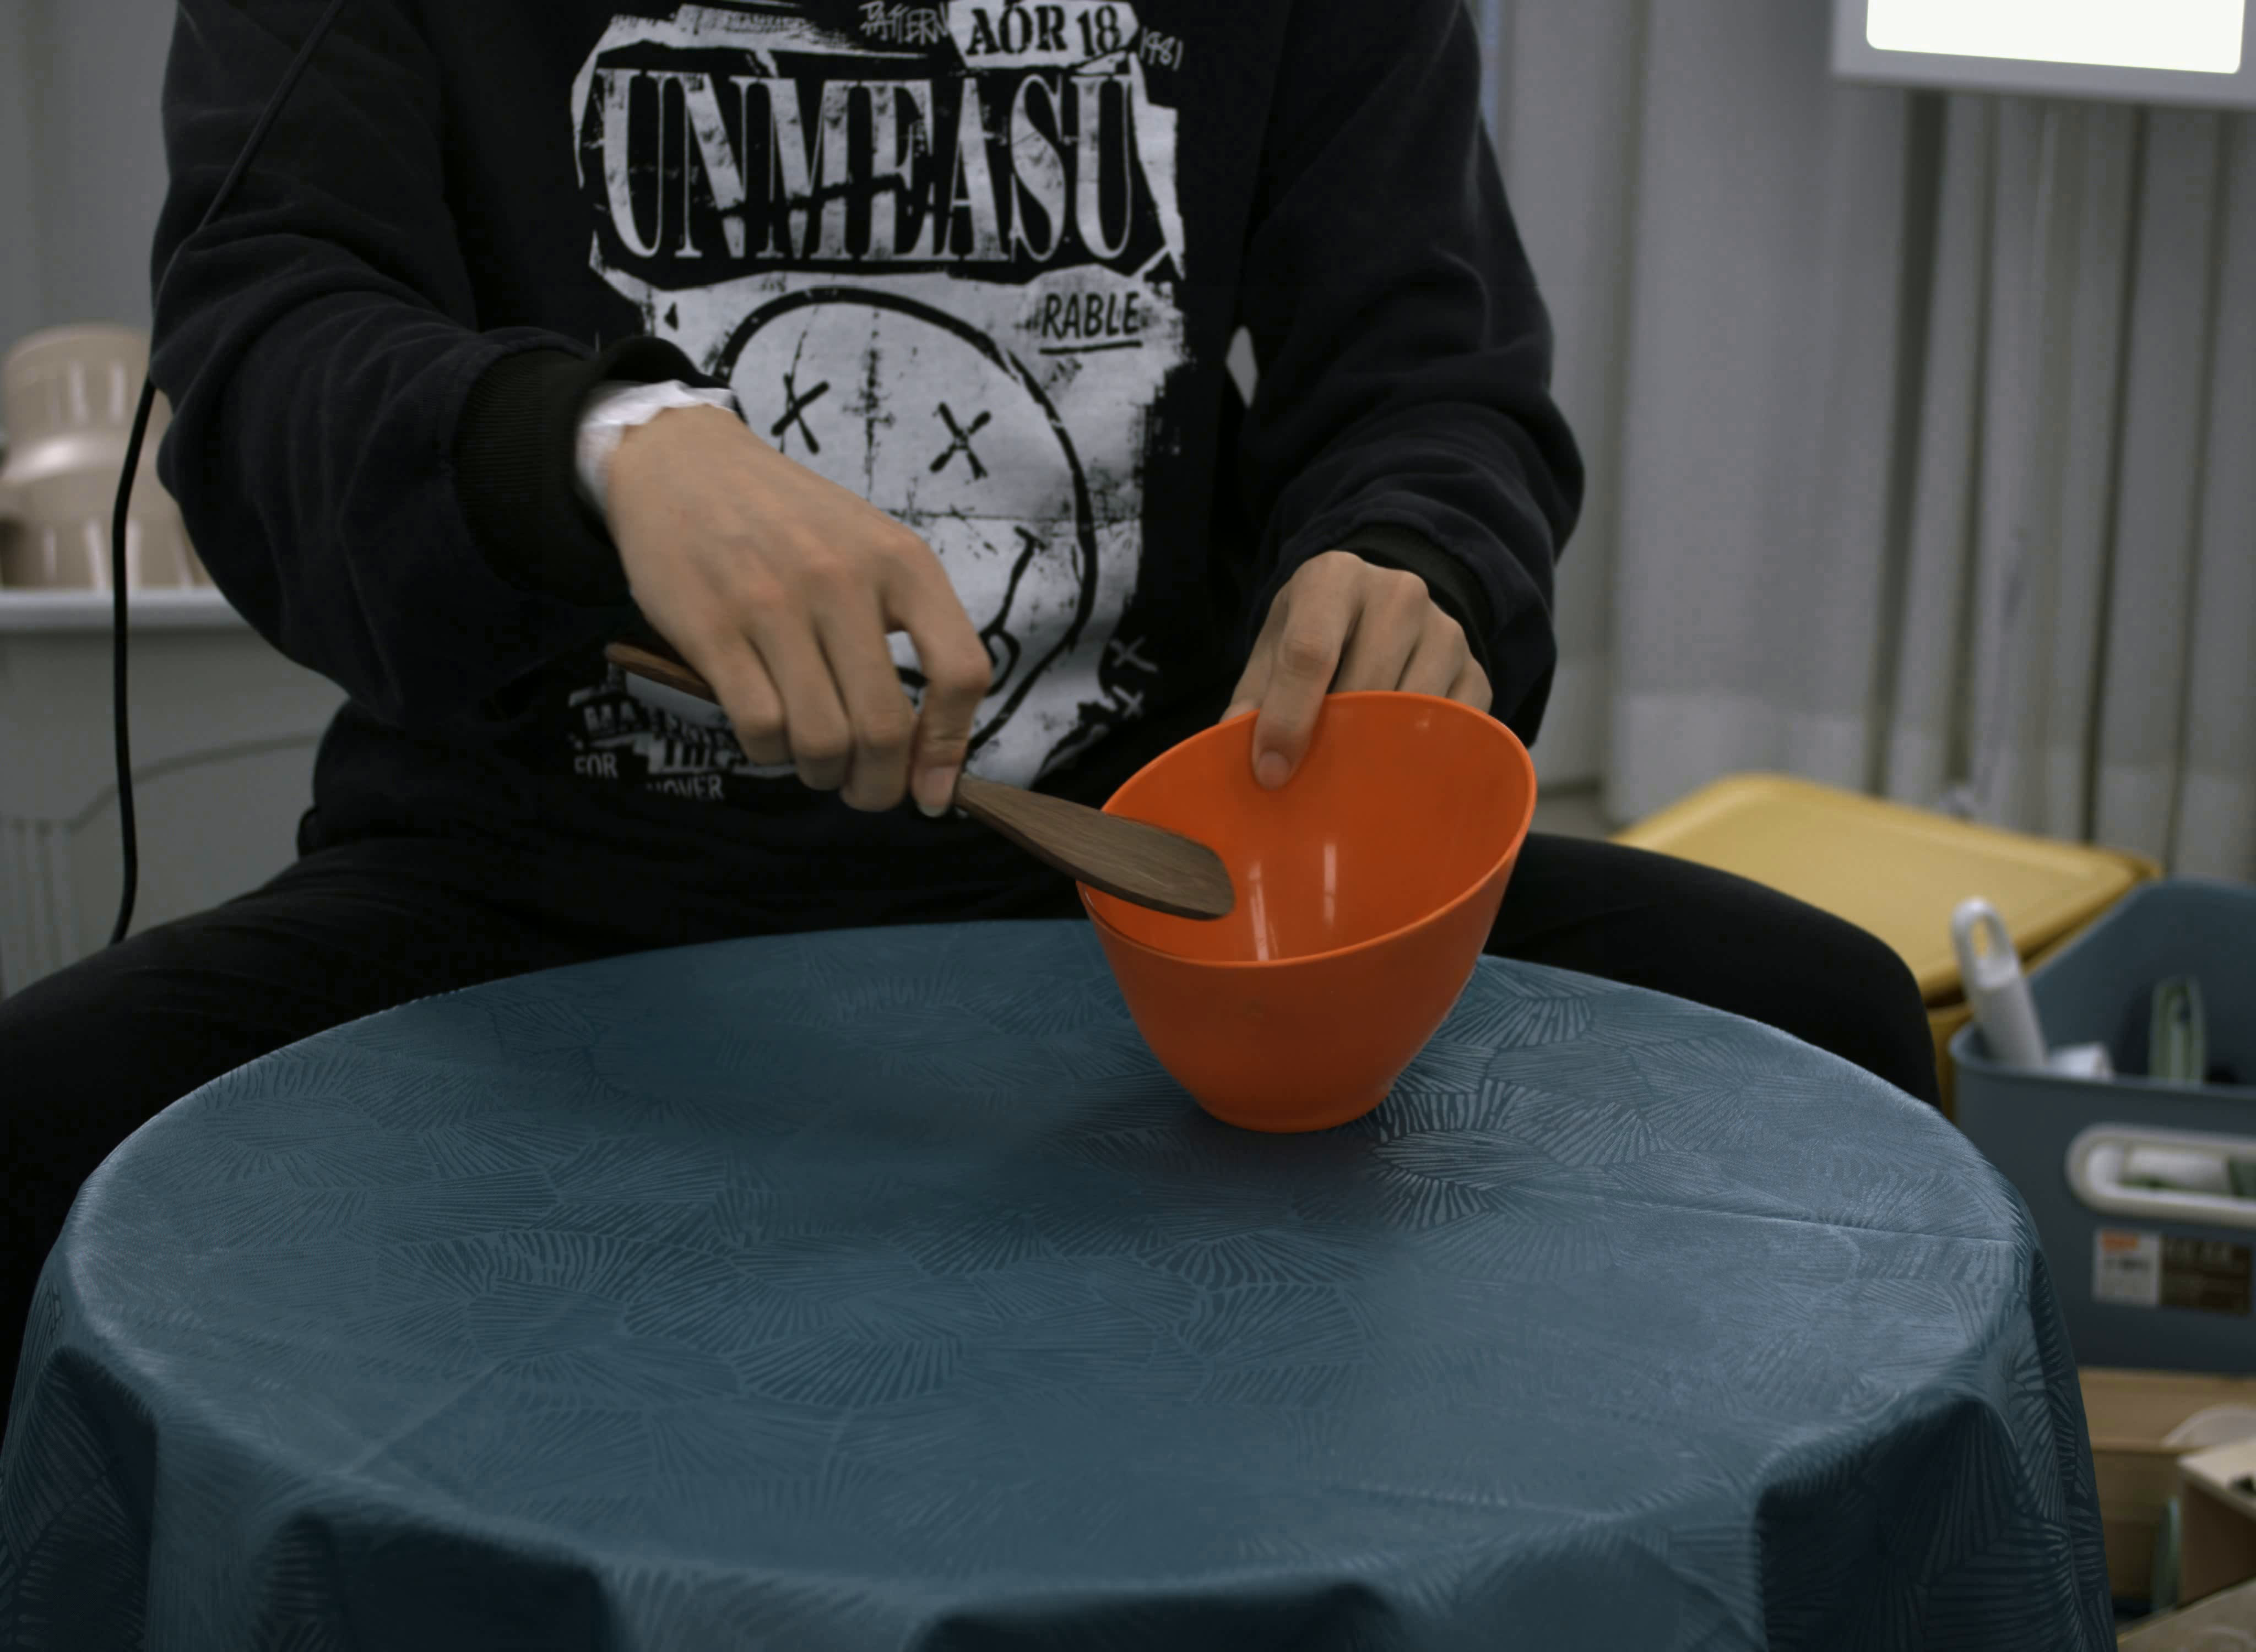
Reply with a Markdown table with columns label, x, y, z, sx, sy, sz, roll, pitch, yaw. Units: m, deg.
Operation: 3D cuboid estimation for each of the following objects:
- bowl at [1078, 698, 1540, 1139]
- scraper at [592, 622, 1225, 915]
| label | x | y | z | sx | sy | sz | roll | pitch | yaw |
| --- | --- | --- | --- | --- | --- | --- | --- | --- | --- |
| bowl | 0.060 | 0.036 | 1.684 | 0.147 | 0.106 | 0.147 | -3 | 30 | 2 |
| scraper | -0.068 | -0.019 | 1.625 | 0.212 | 0.011 | 0.075 | 23 | 15 | -11 |
